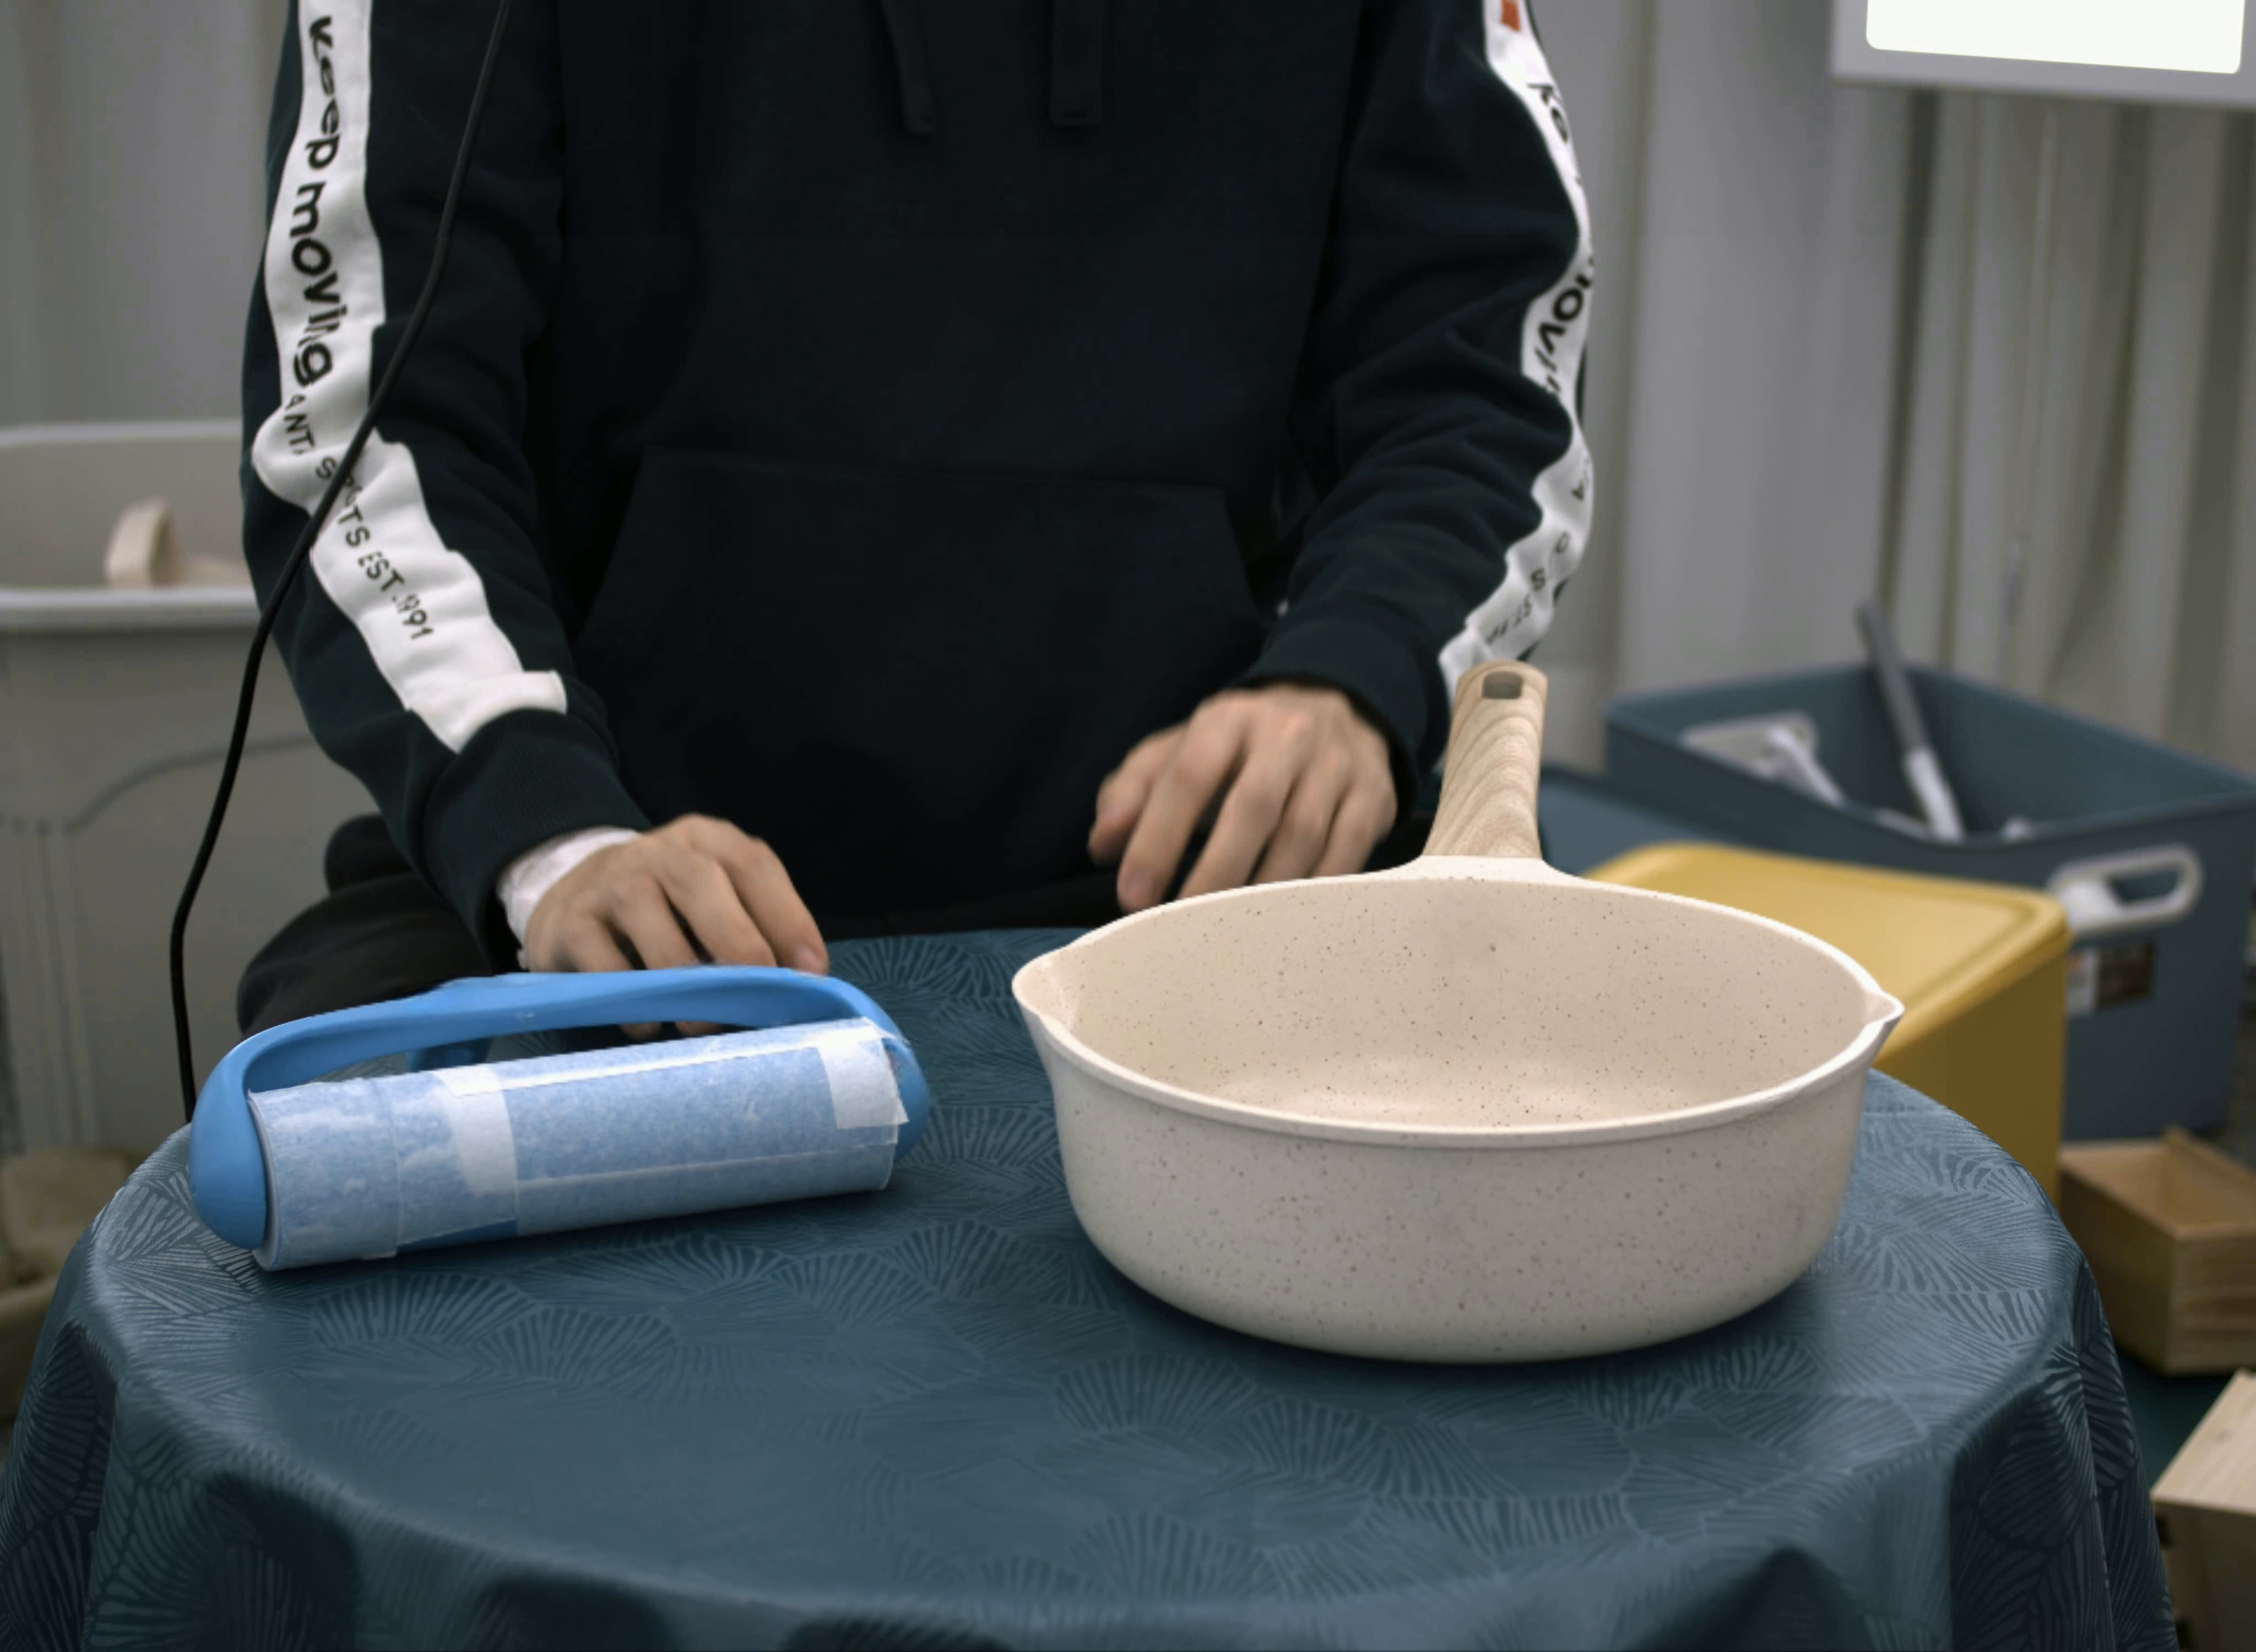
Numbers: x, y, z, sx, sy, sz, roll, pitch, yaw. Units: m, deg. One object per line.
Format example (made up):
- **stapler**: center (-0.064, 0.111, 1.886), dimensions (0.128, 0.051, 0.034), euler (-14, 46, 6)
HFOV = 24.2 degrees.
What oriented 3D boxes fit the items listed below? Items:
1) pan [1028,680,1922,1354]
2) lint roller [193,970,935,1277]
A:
- **pan**: center (0.110, 0.054, 1.643), dimensions (0.262, 0.103, 0.433), euler (1, 15, 5)
- **lint roller**: center (-0.191, 0.079, 1.626), dimensions (0.229, 0.068, 0.178), euler (-9, 19, -24)
